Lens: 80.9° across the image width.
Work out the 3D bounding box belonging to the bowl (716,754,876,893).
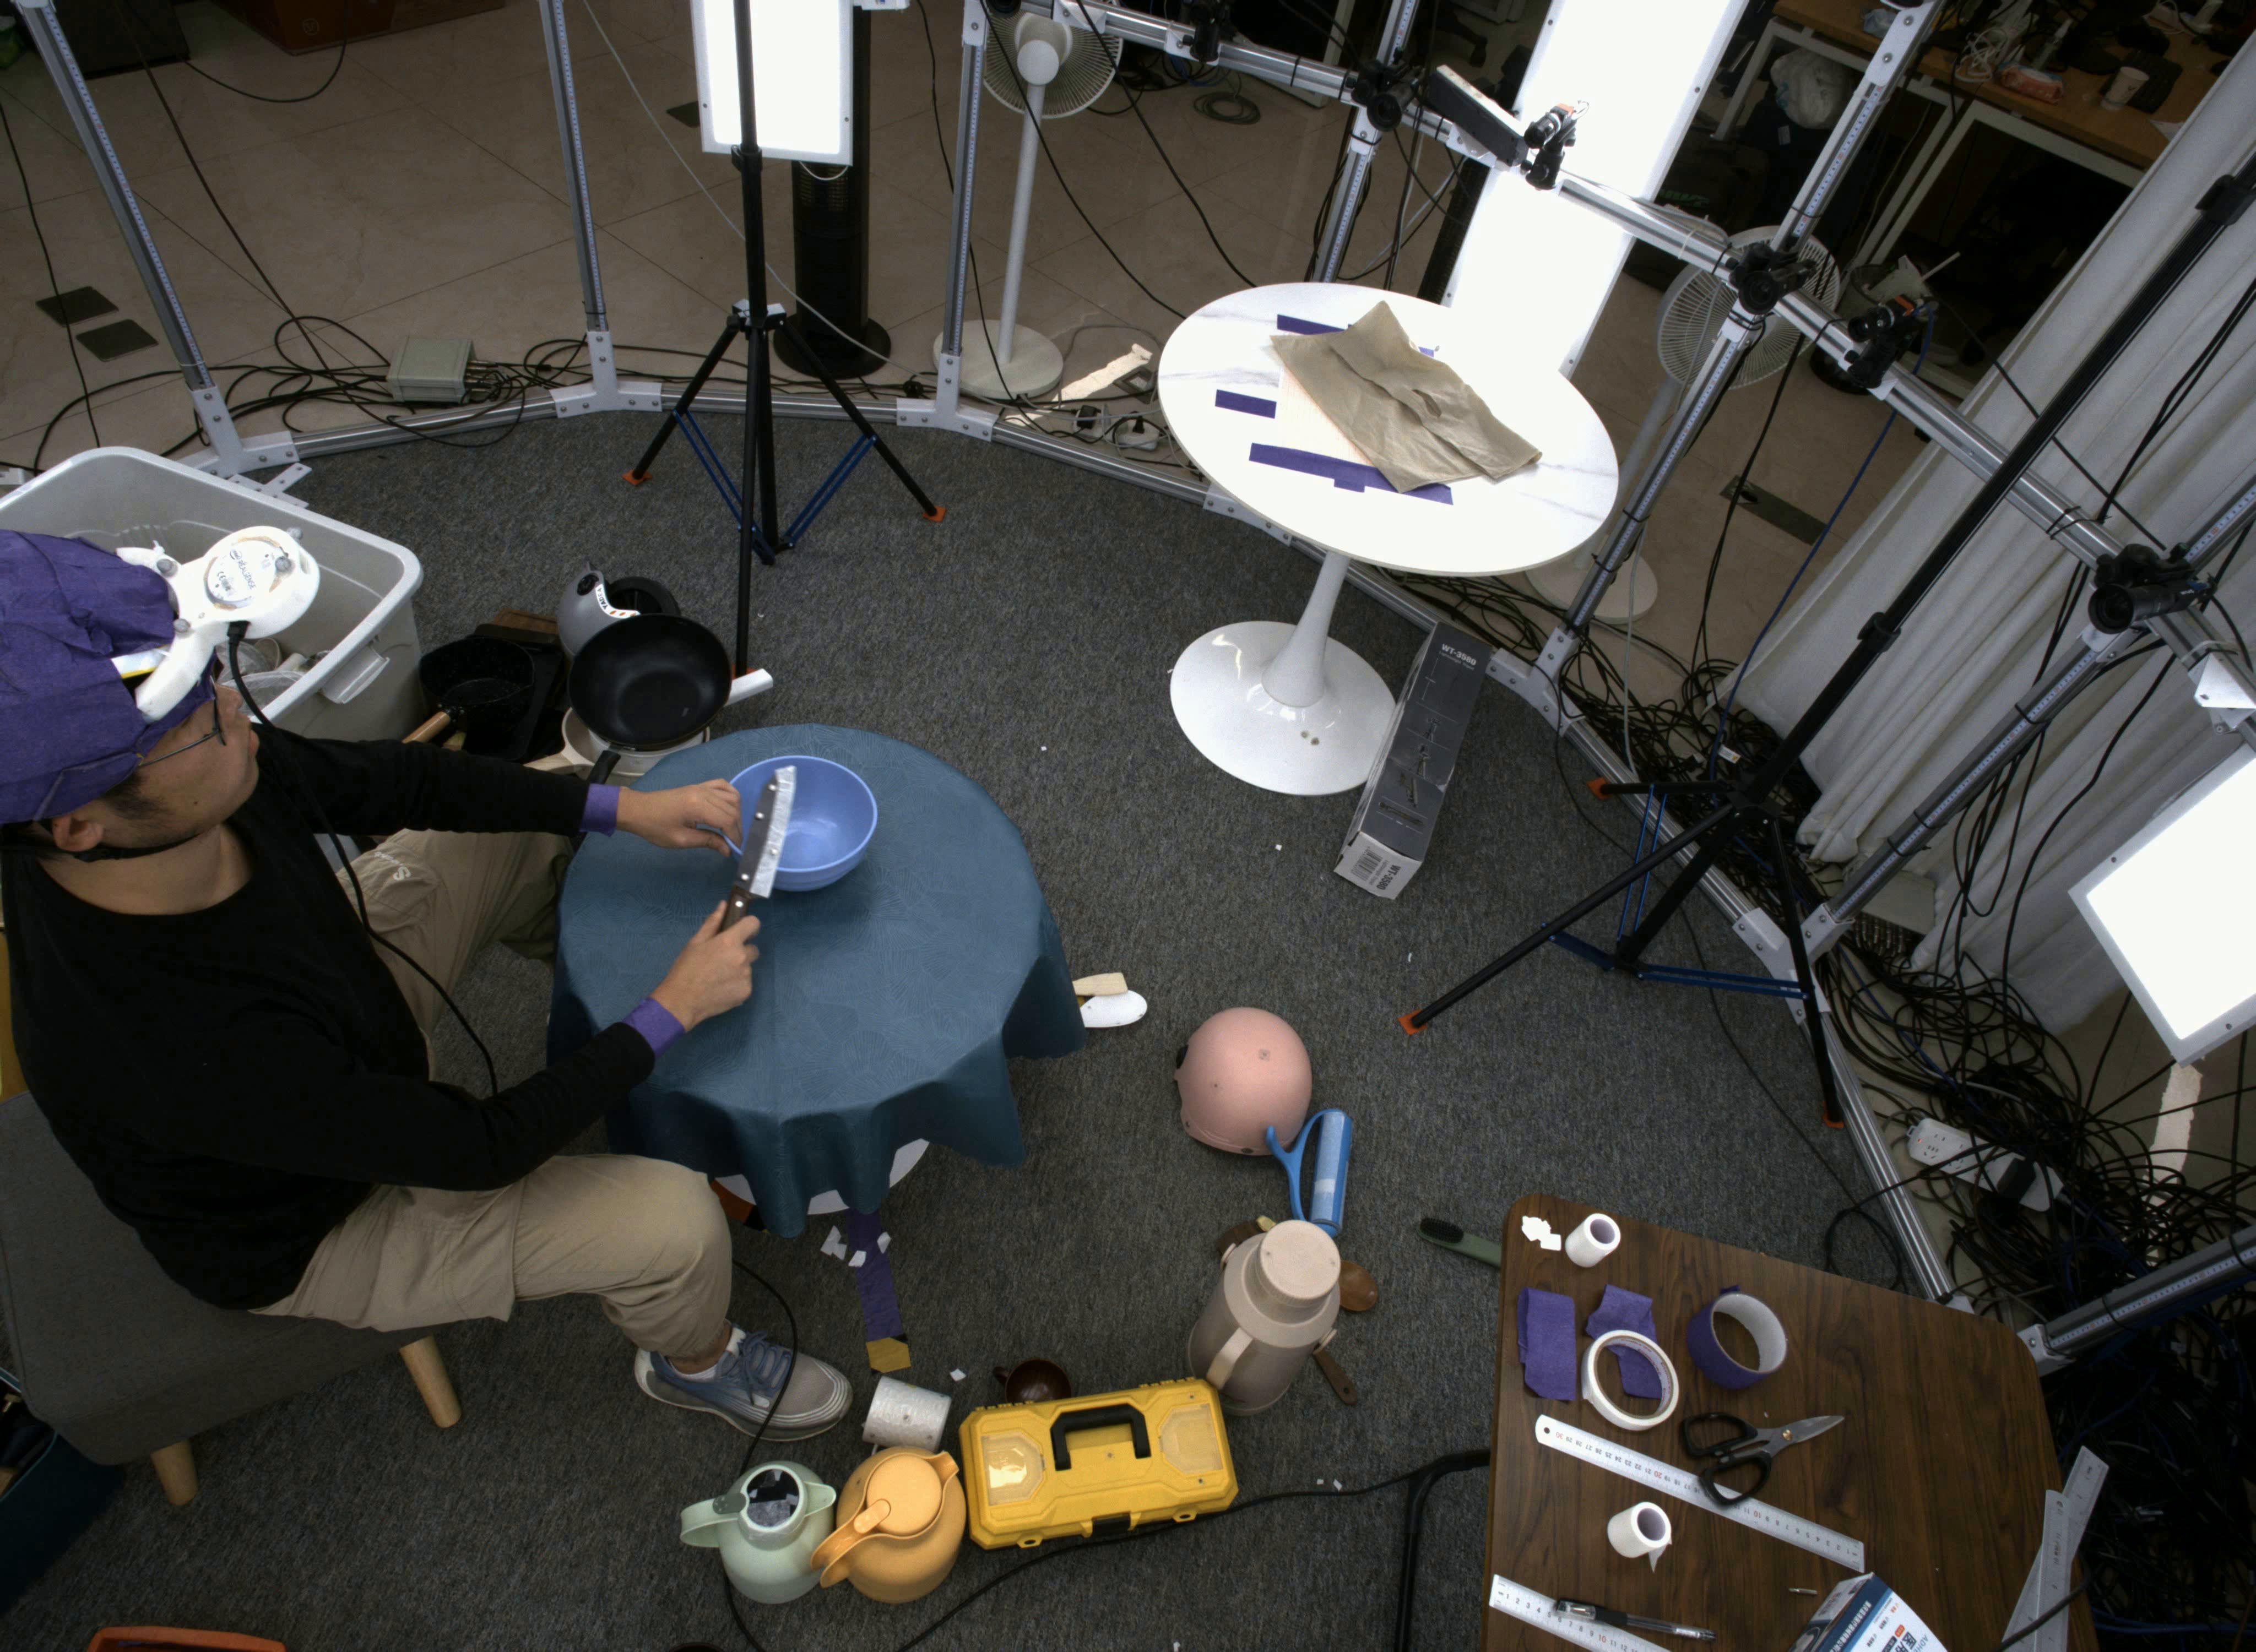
[{"bbox_3d":[-0.420,0.012,1.651,0.196,0.097,0.193,7,49,-7],"label":"bowl"}]

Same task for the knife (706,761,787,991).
[{"bbox_3d":[-0.451,0.054,1.535,0.051,0.019,0.289,21,72,-27],"label":"knife"}]
